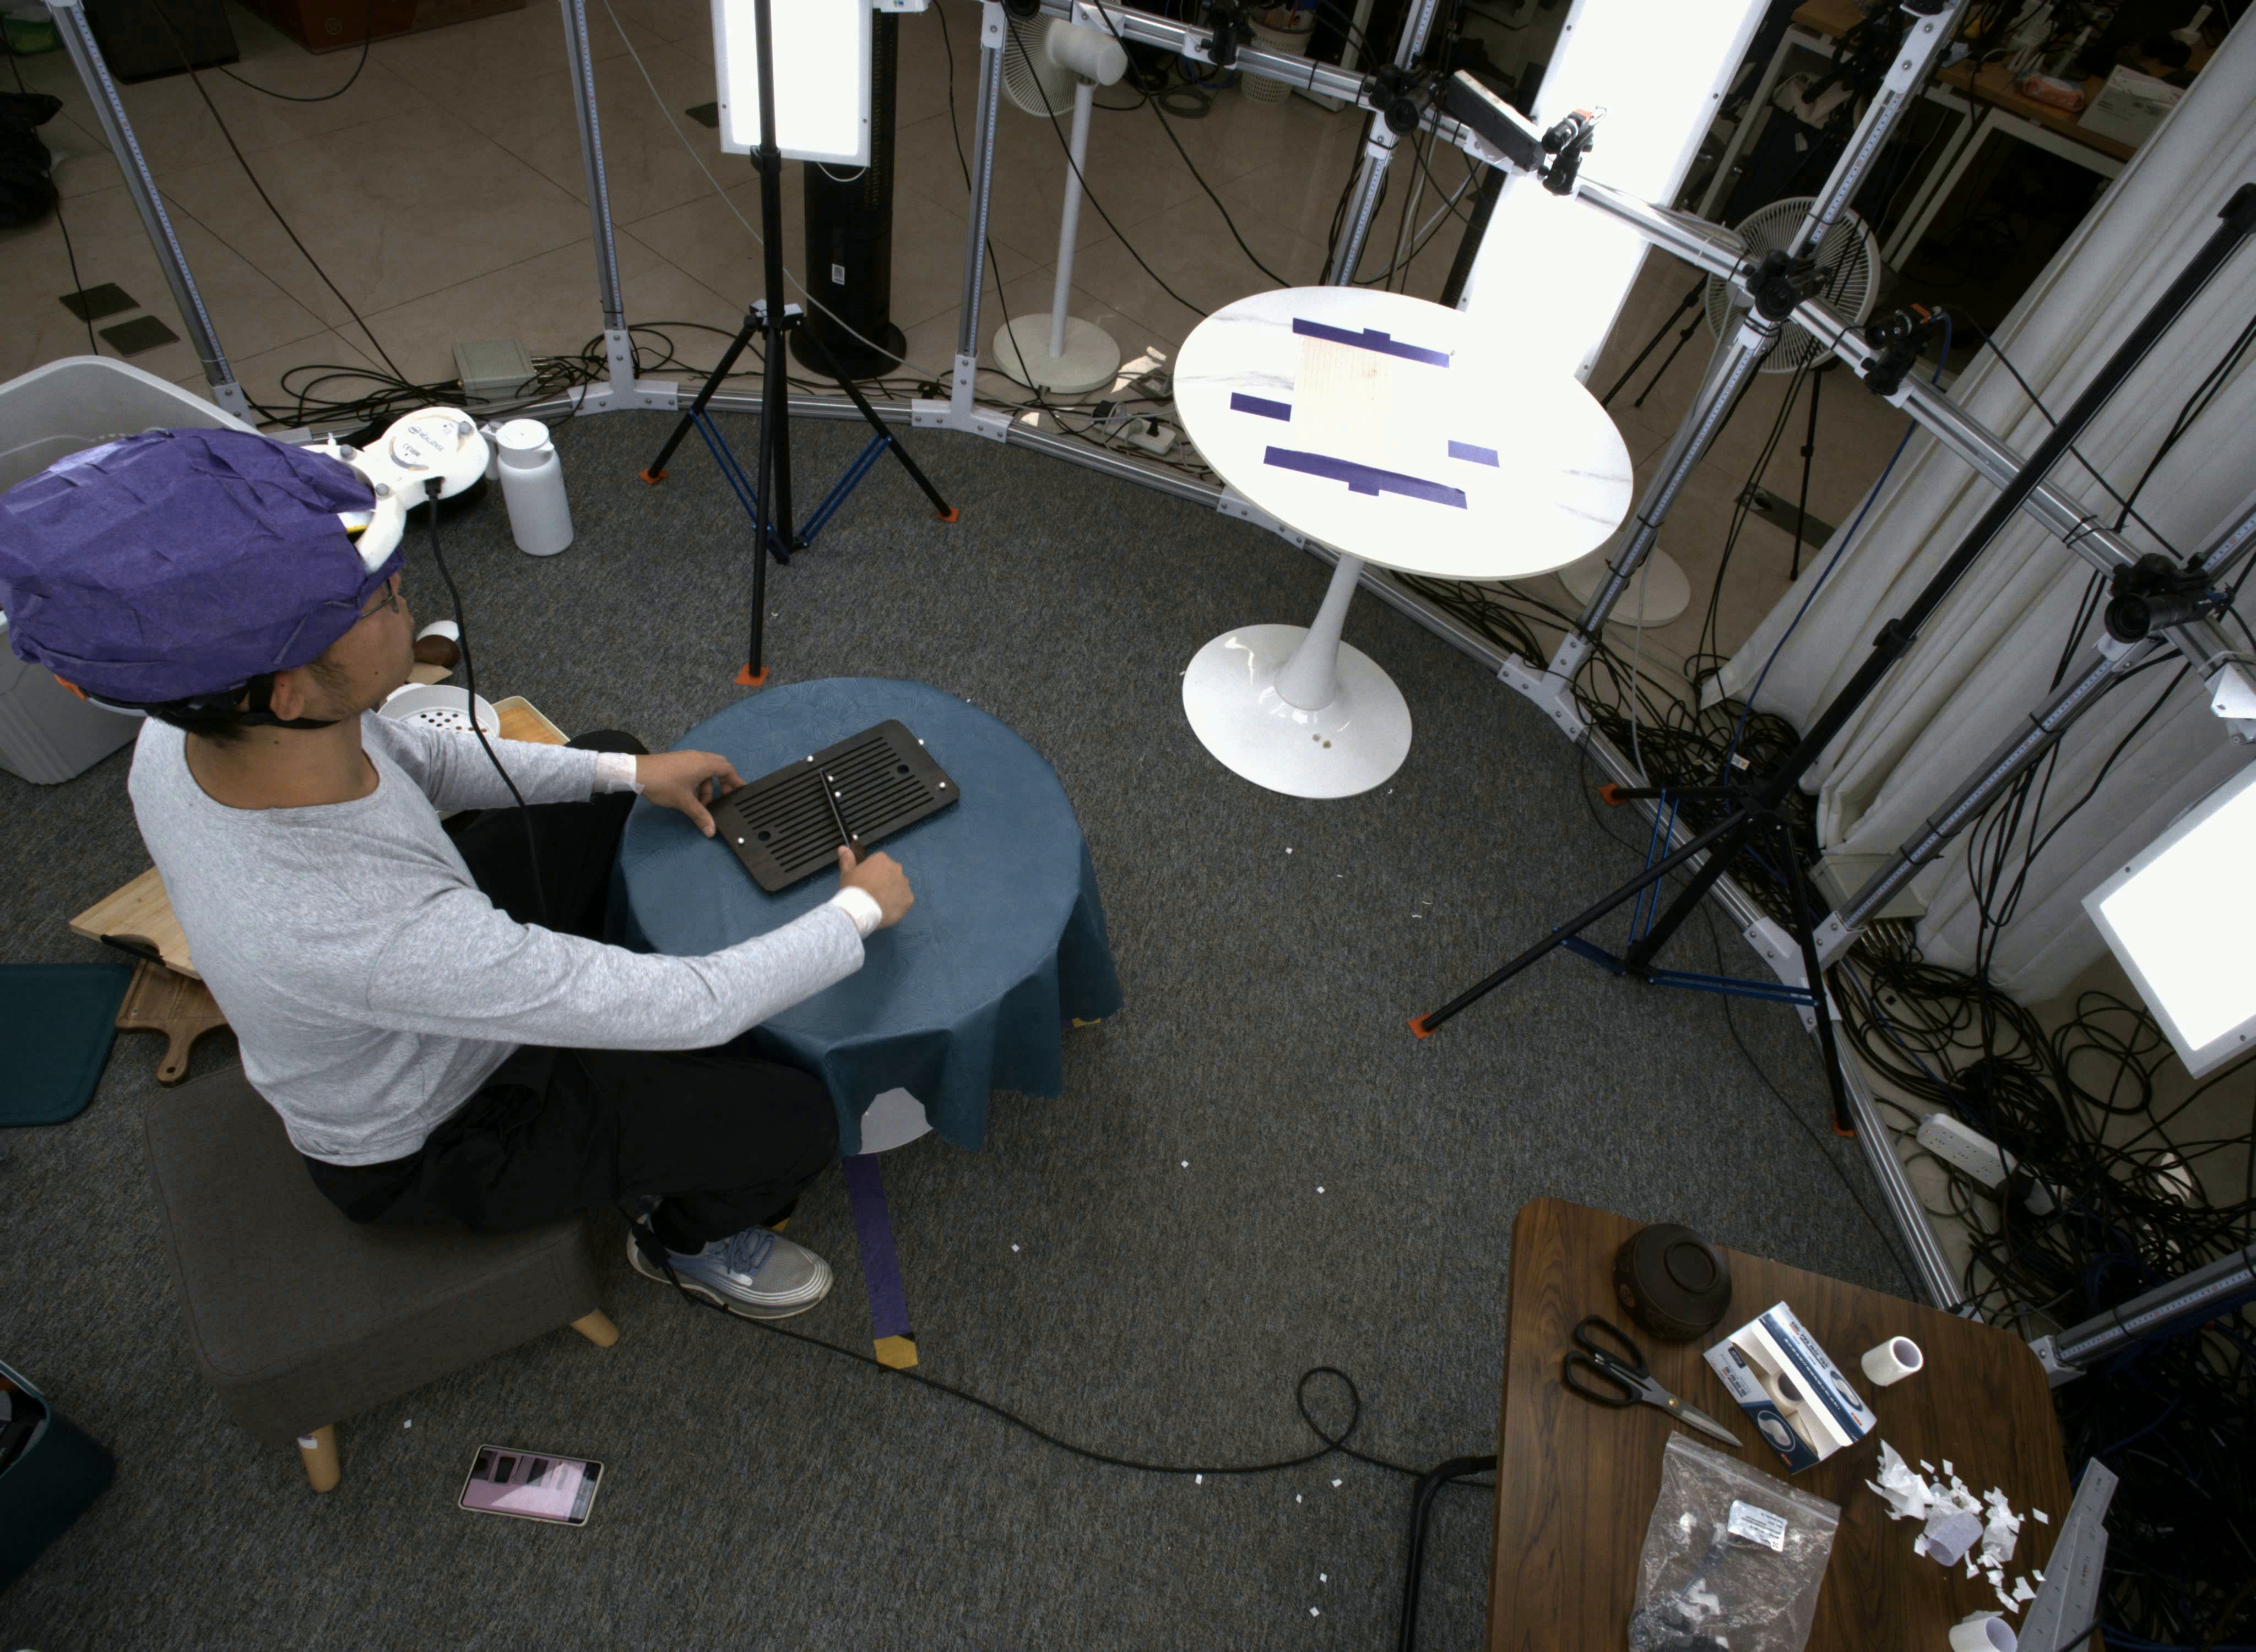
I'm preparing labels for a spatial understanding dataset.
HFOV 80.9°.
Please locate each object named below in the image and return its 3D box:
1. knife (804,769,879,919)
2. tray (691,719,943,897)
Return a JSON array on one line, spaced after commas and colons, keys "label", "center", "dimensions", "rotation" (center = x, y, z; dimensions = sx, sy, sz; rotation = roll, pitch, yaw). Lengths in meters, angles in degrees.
[{"label": "knife", "center": [-0.375, 0.016, 1.671], "dimensions": [0.020, 0.051, 0.280], "rotation": [-16, 49, -24]}, {"label": "tray", "center": [-0.416, -0.029, 1.748], "dimensions": [0.307, 0.019, 0.166], "rotation": [-30, 67, -30]}]
